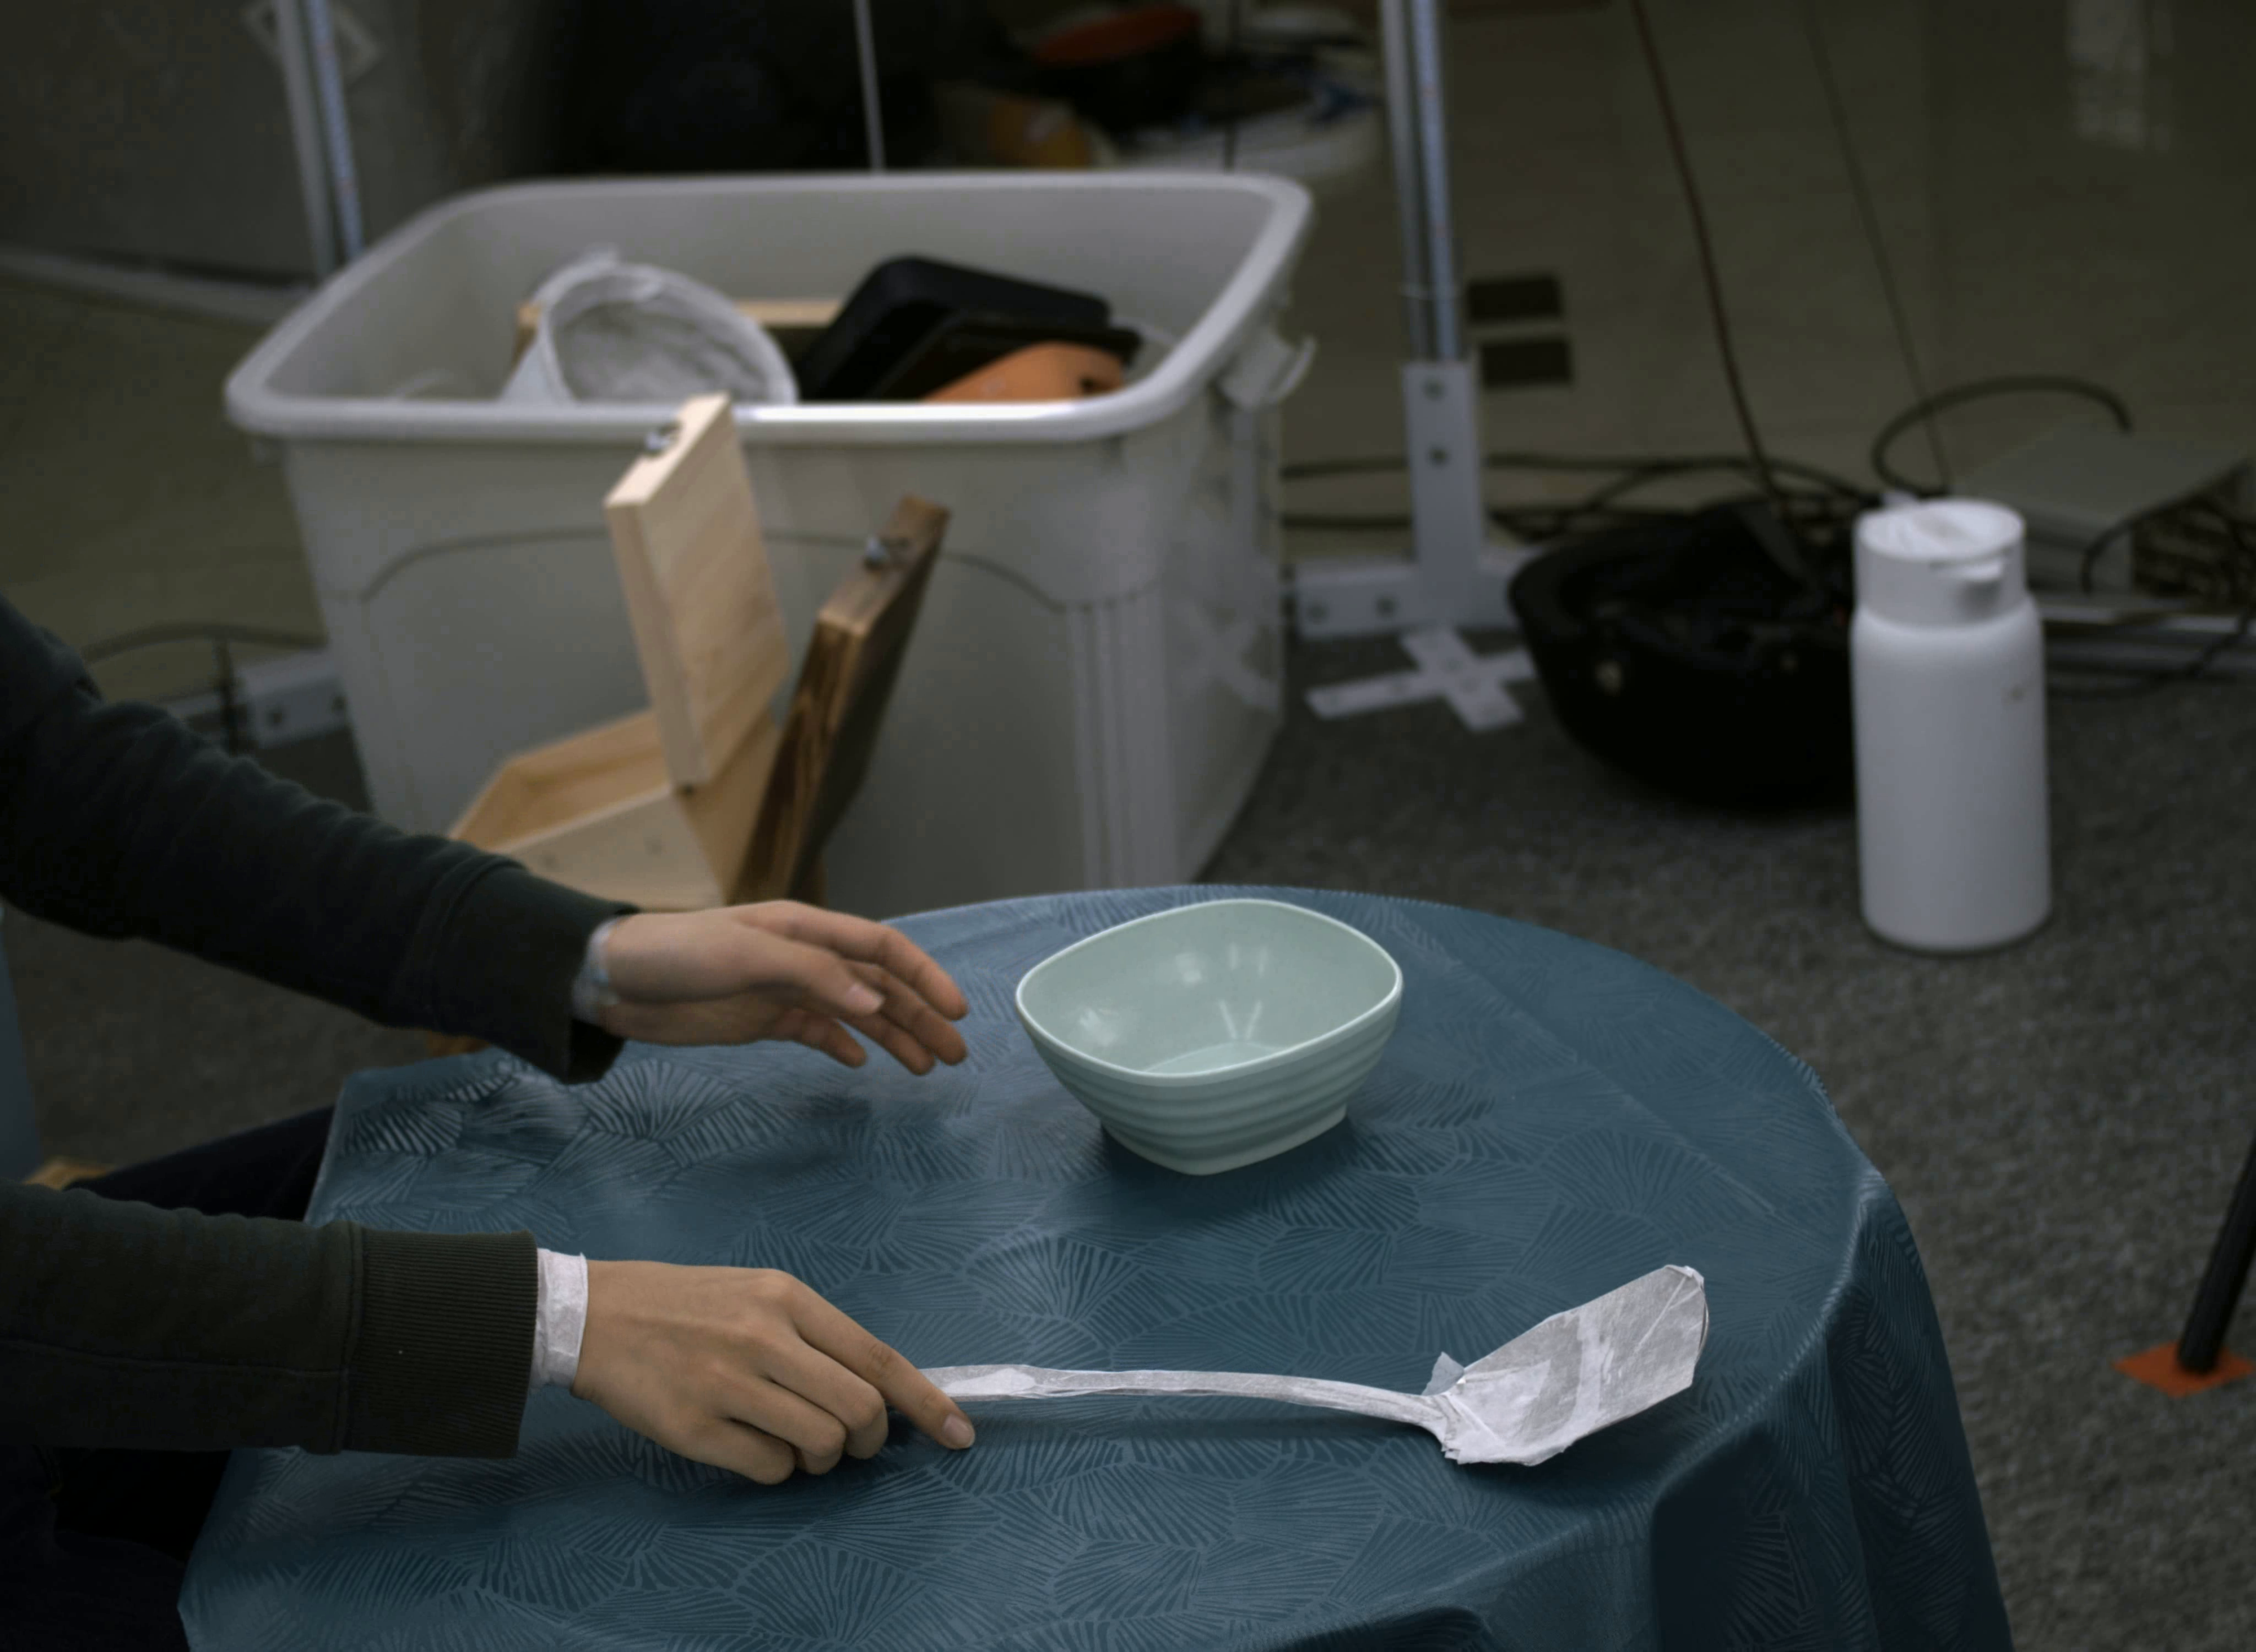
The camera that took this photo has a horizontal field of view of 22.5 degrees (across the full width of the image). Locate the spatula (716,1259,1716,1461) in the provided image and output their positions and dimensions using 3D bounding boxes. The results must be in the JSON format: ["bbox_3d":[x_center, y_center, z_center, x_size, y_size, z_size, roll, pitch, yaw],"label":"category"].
[{"bbox_3d":[0.024,0.191,1.990,0.364,0.045,0.097,0,28,12],"label":"spatula"}]

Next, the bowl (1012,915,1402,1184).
[{"bbox_3d":[0.032,0.091,2.187,0.151,0.059,0.149,-4,24,2],"label":"bowl"}]
